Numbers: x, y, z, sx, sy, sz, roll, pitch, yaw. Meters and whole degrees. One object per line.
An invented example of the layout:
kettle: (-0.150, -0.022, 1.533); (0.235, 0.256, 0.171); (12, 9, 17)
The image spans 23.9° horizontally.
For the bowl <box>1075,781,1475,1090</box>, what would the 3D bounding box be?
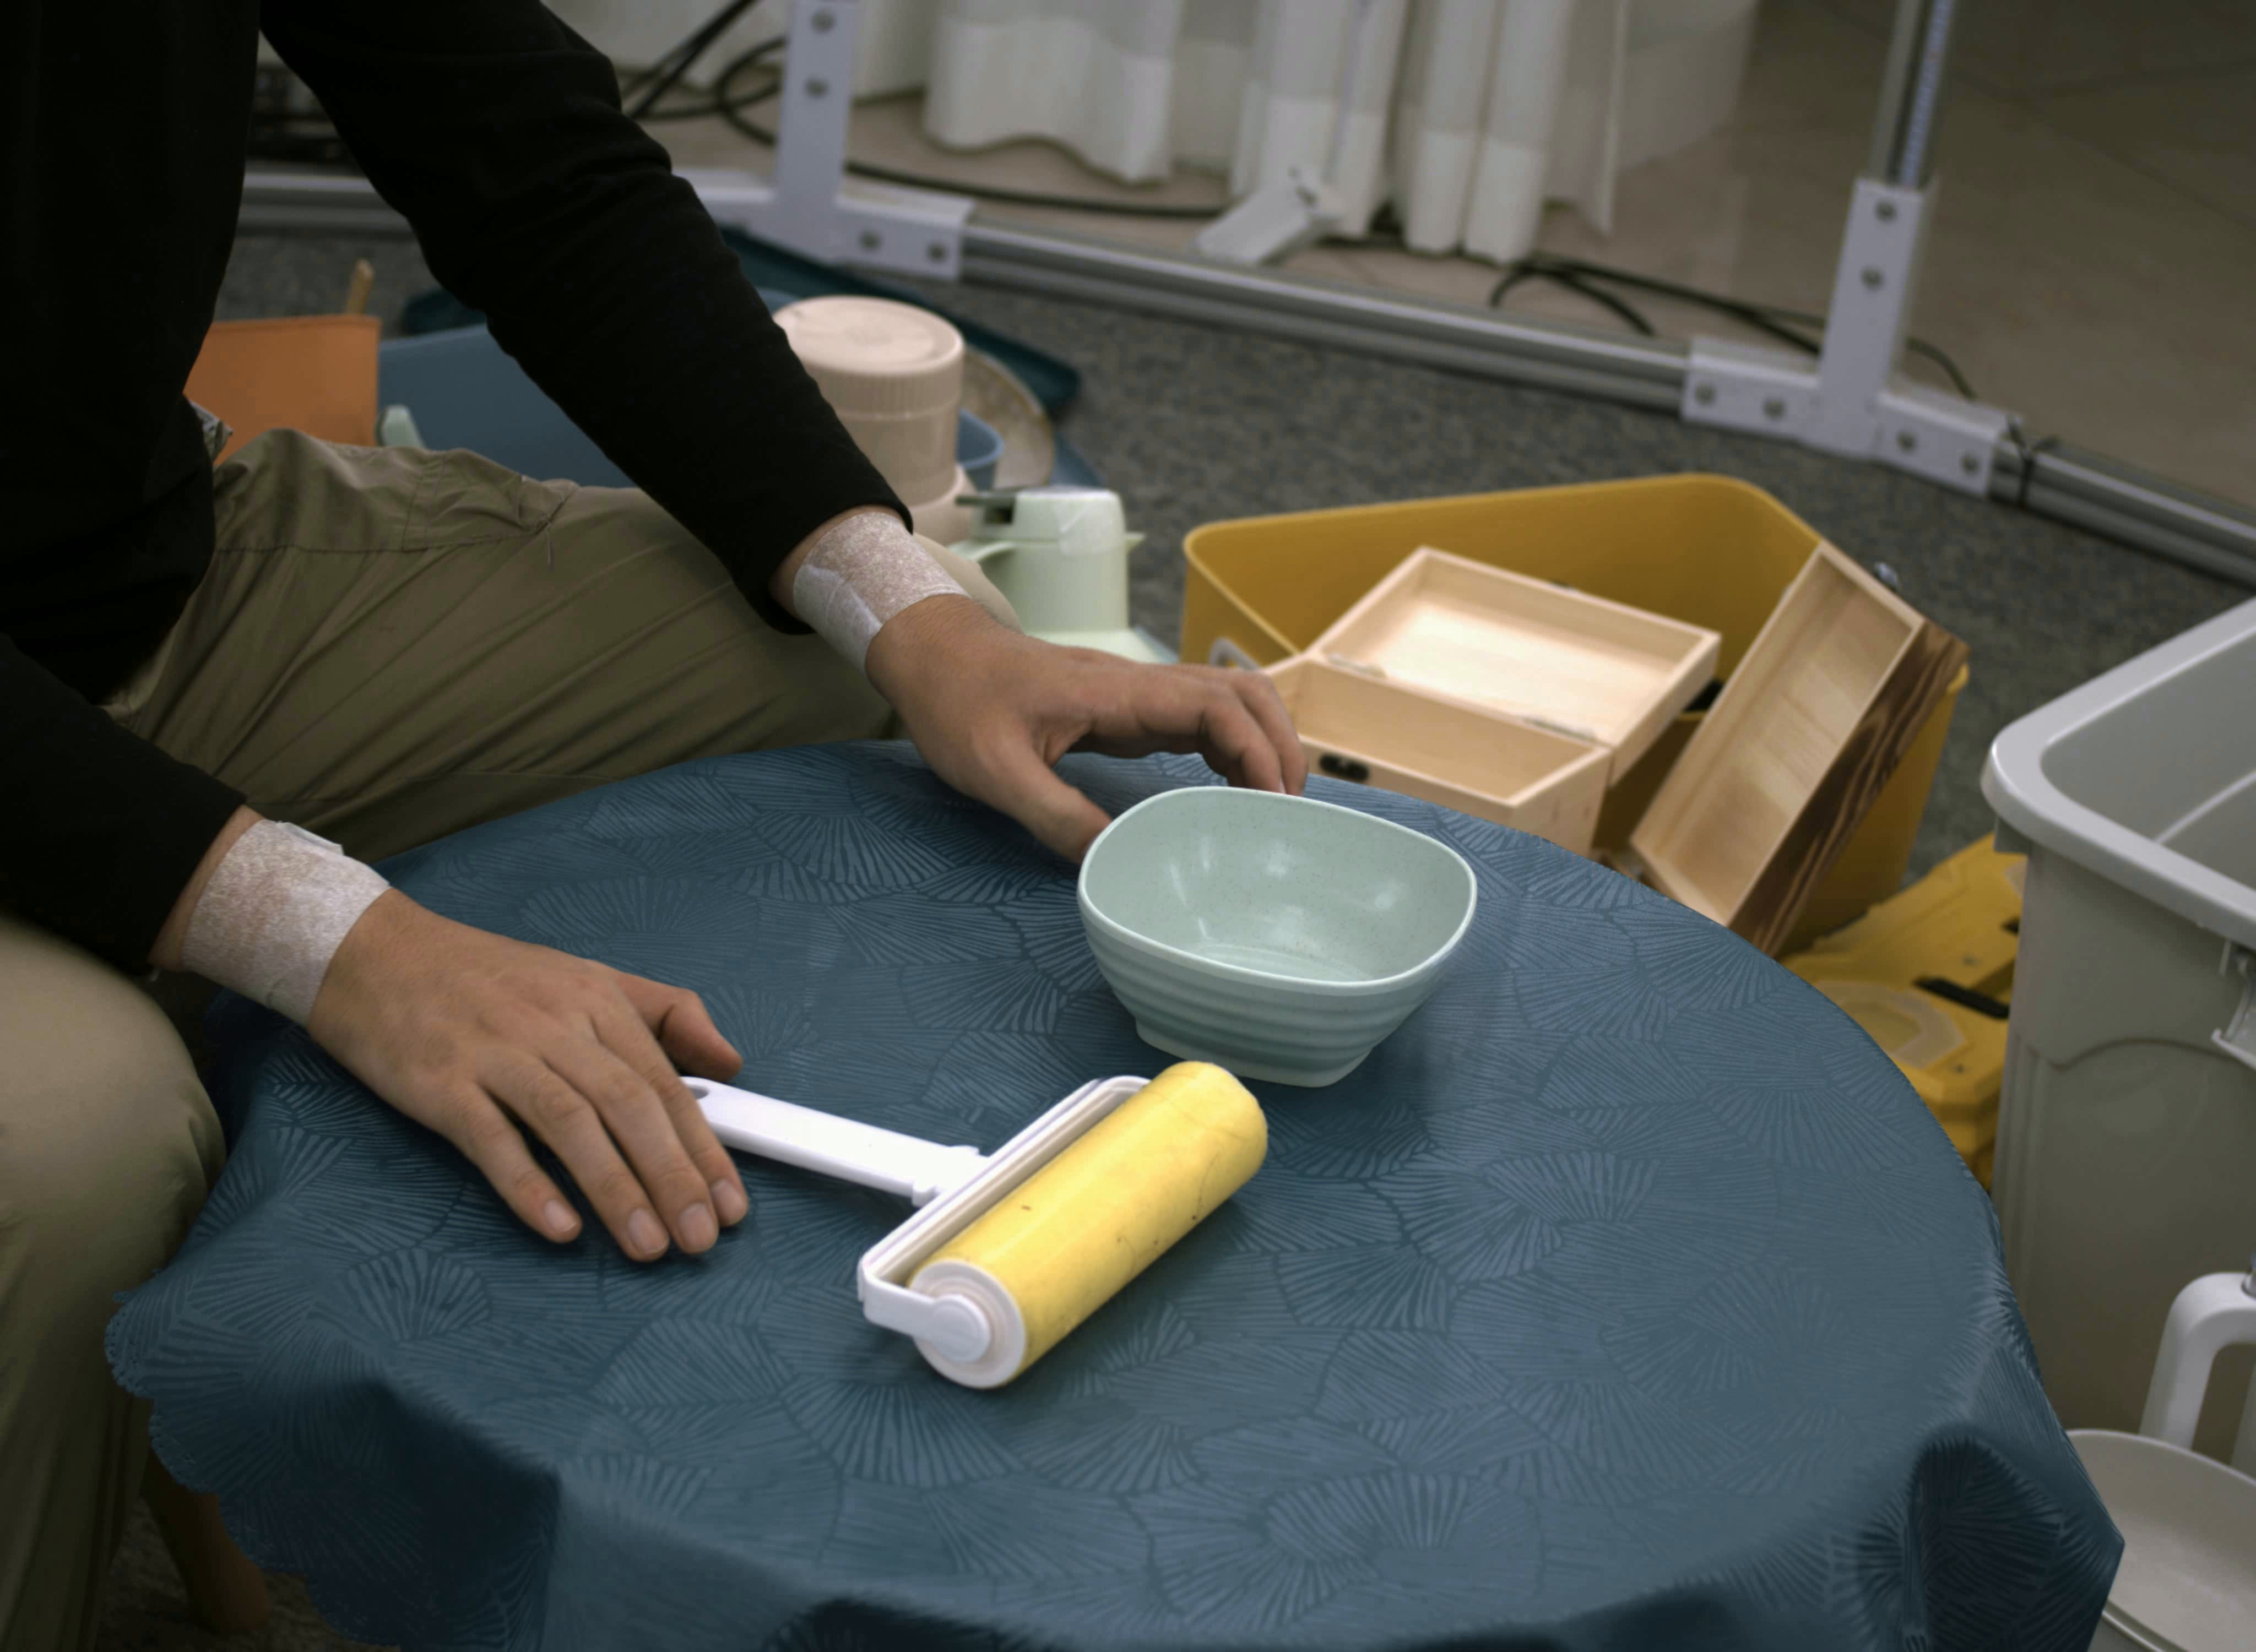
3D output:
bowl: (0.050, 0.045, 1.905); (0.151, 0.058, 0.152); (6, 28, -4)

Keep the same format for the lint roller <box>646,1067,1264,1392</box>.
lint roller: (-0.075, 0.106, 1.763); (0.193, 0.051, 0.174); (23, 30, 20)
